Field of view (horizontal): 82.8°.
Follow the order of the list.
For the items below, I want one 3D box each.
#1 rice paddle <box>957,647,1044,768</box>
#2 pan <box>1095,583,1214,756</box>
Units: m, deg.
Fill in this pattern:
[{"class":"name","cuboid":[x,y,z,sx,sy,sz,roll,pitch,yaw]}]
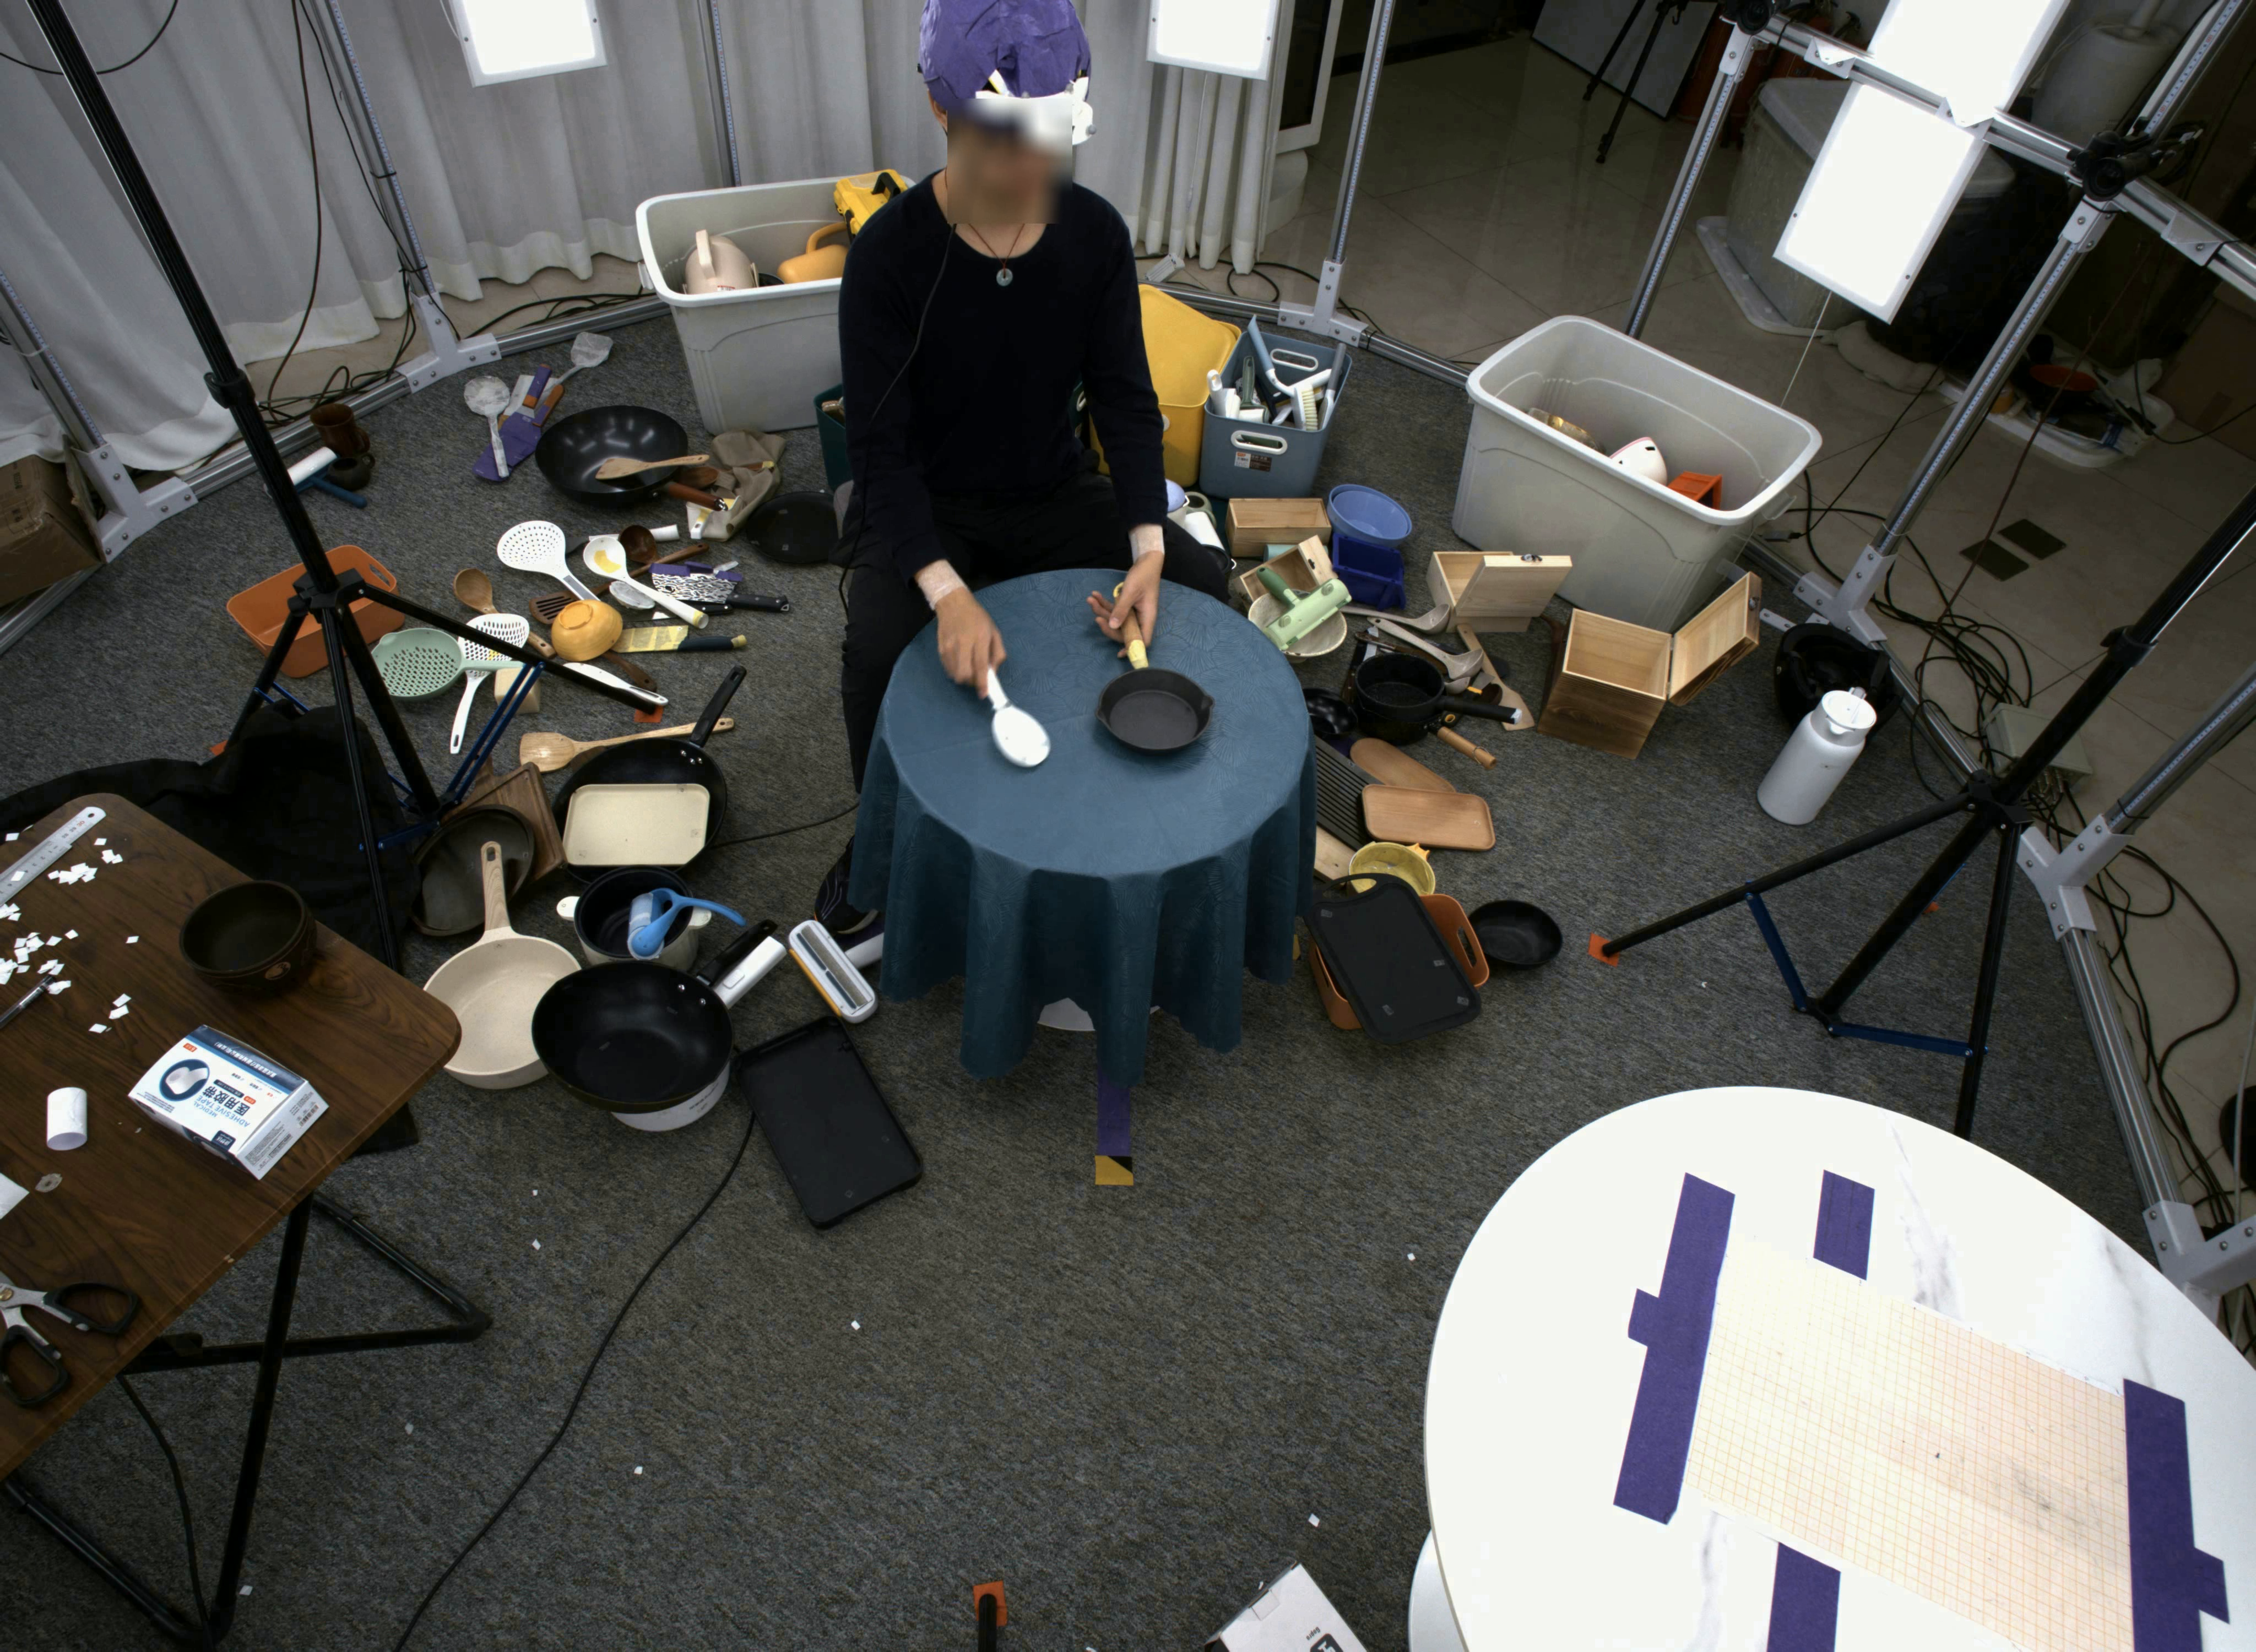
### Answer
[{"class":"rice paddle","cuboid":[-0.178,-0.162,1.763,0.069,0.029,0.209,-17,61,-26]},{"class":"pan","cuboid":[0.022,-0.225,1.833,0.169,0.048,0.332,-6,51,-9]}]
